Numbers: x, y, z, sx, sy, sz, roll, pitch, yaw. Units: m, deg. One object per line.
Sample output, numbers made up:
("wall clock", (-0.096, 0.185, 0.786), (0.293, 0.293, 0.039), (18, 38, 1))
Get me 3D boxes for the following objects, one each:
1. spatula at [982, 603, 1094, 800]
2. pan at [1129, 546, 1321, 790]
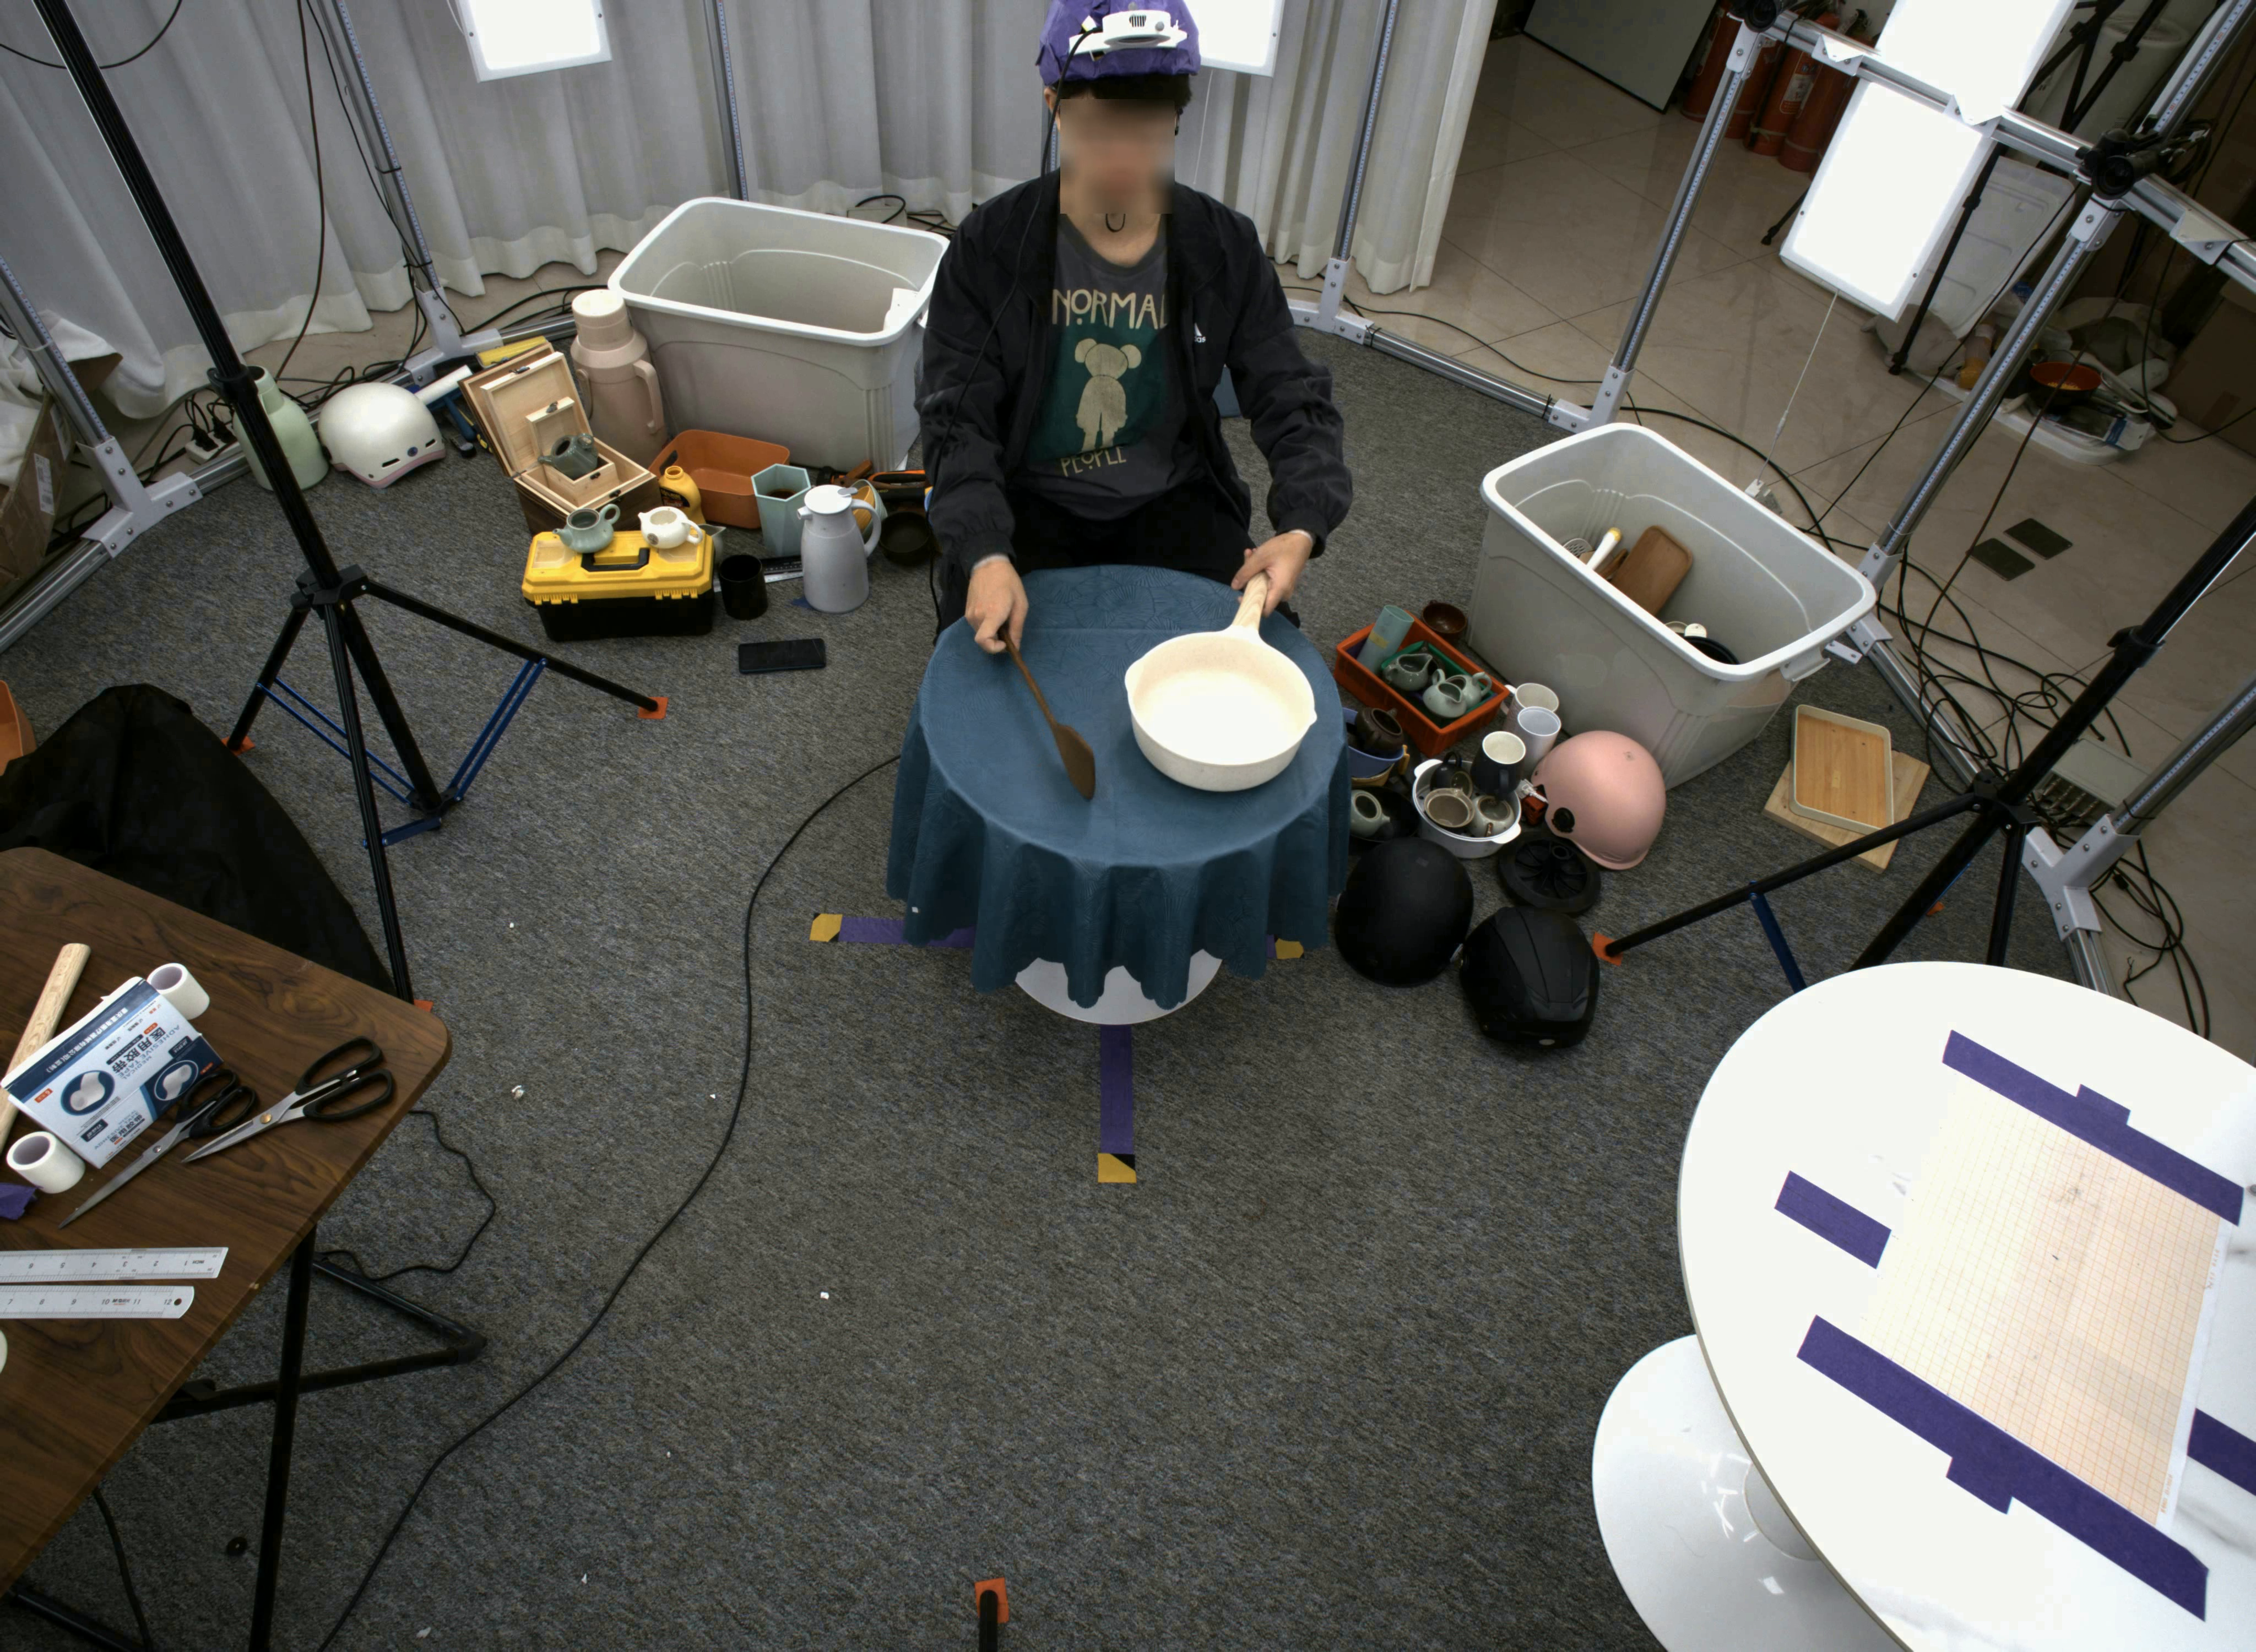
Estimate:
("spatula", (-0.128, -0.189, 1.764), (0.016, 0.094, 0.395), (-14, 49, -20))
("pan", (0.154, -0.223, 1.804), (0.264, 0.099, 0.444), (13, 49, 10))
